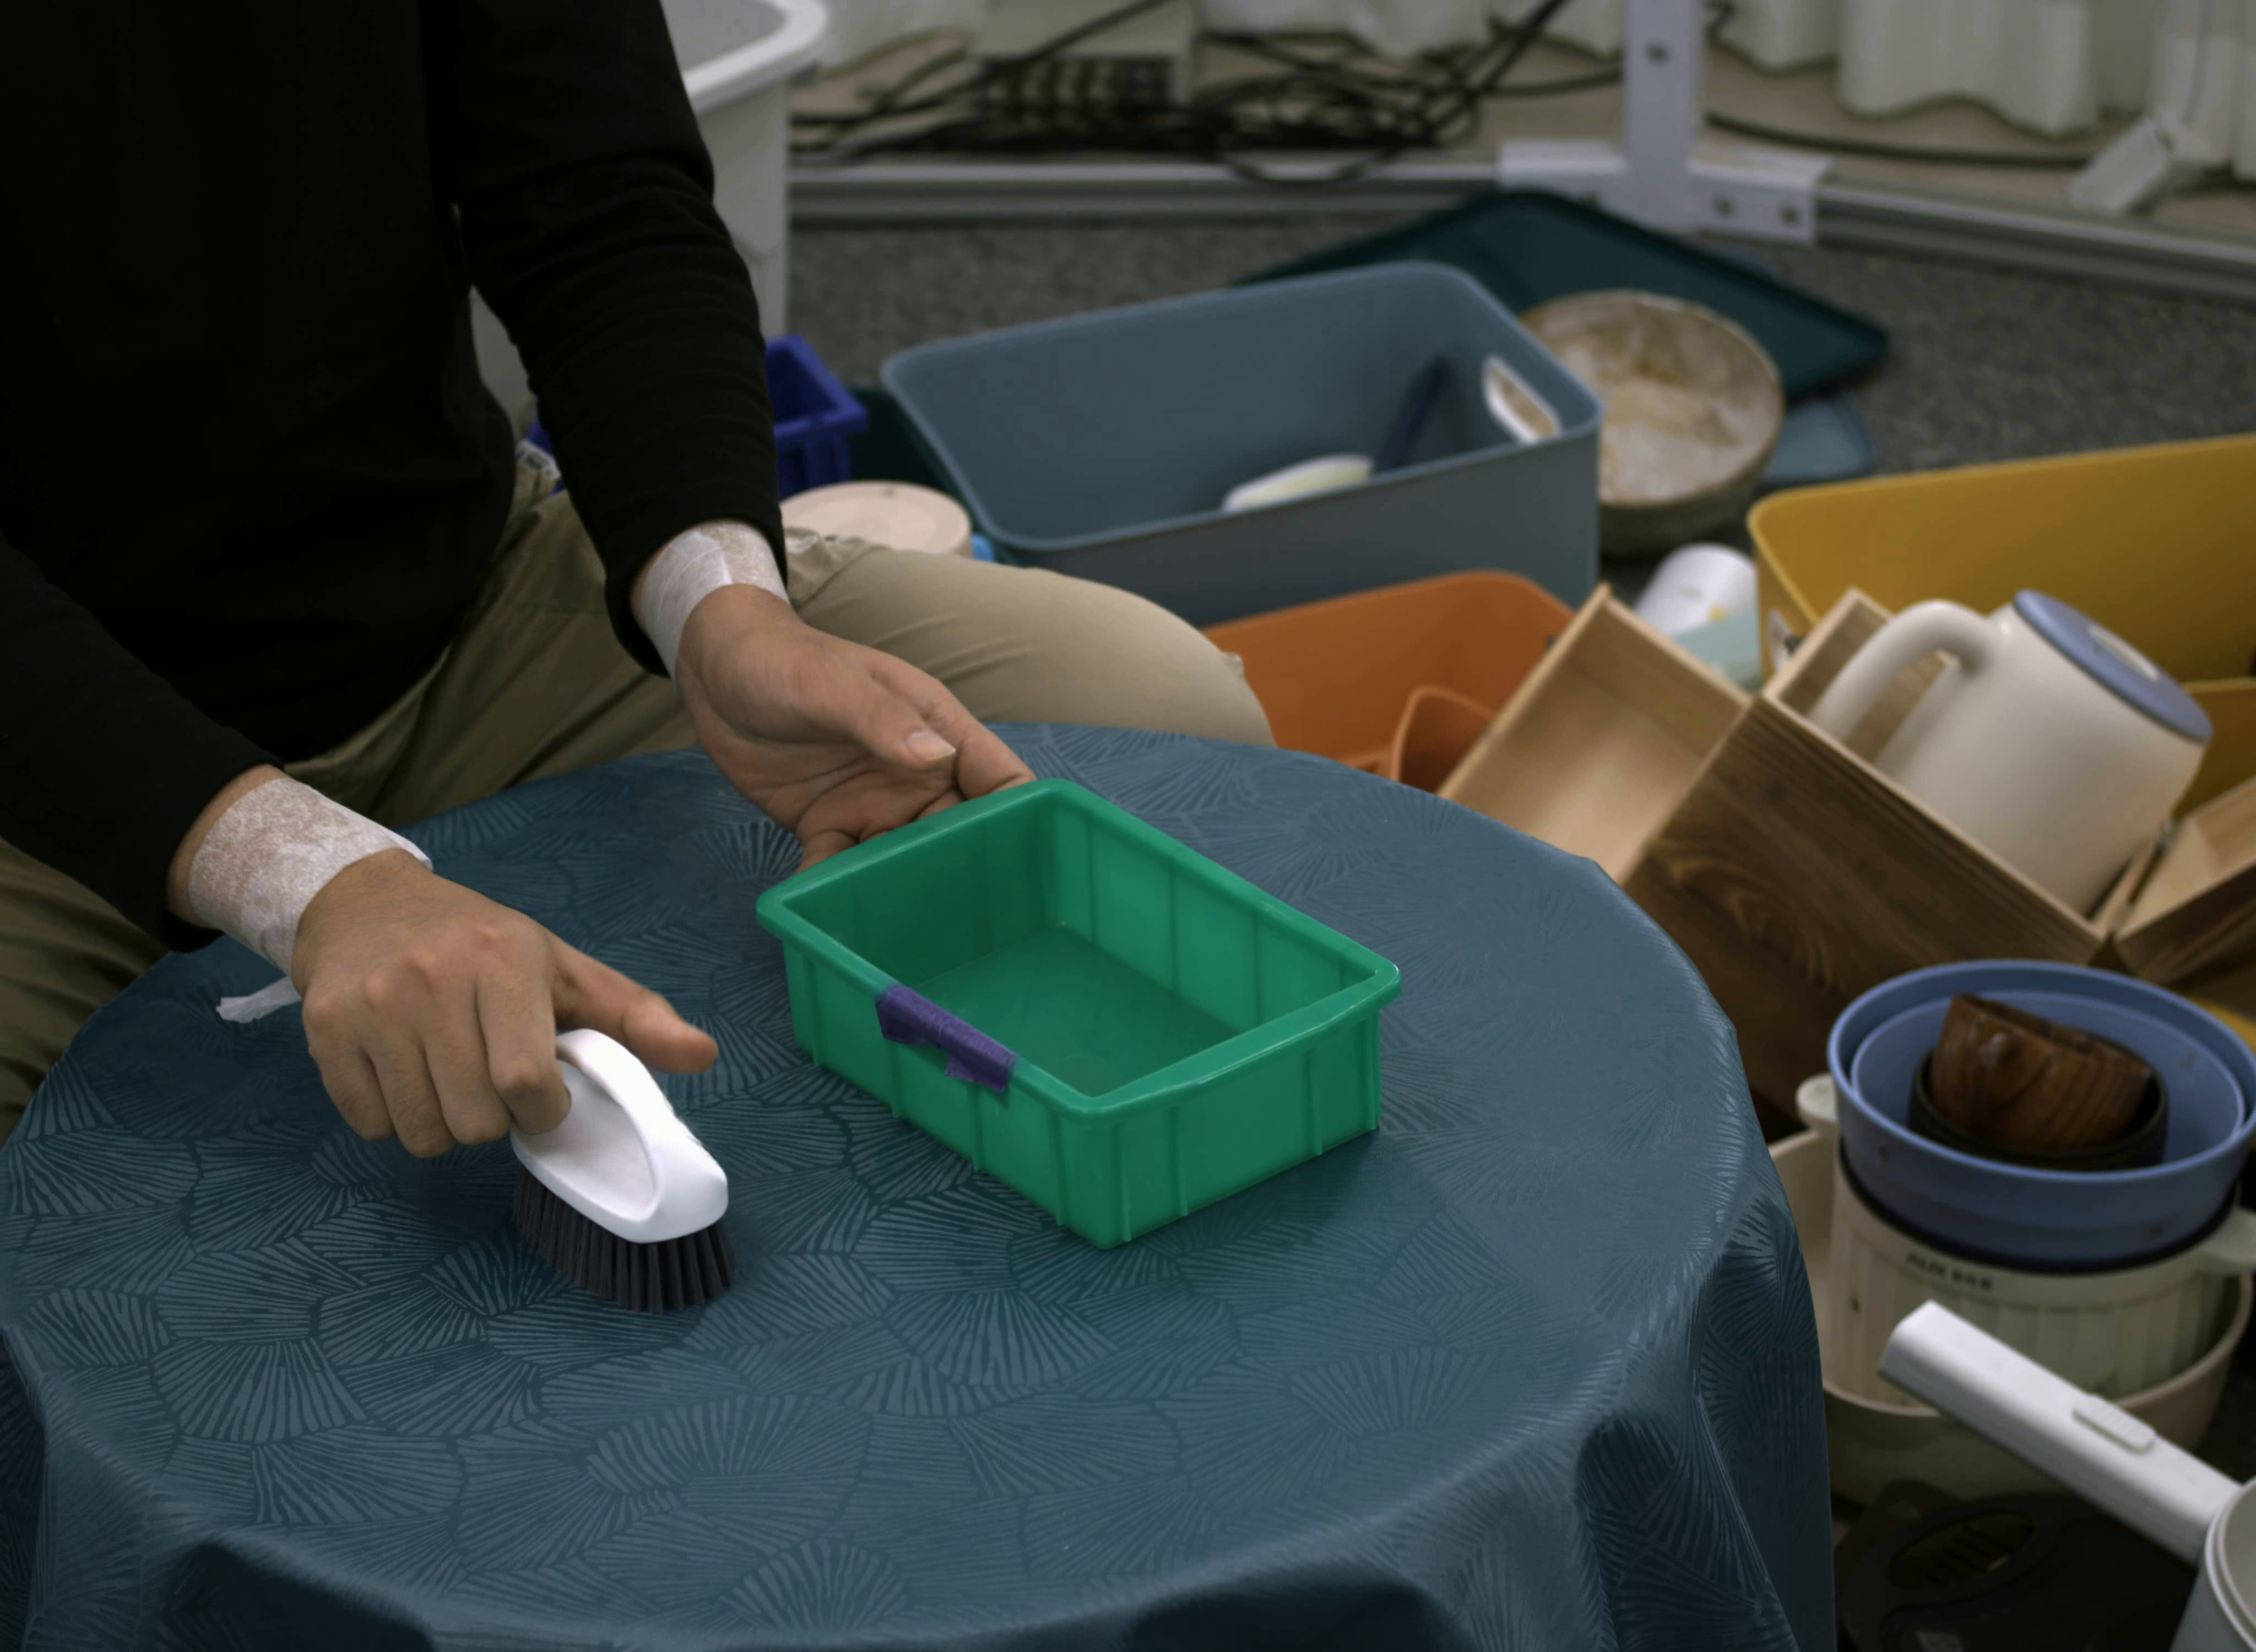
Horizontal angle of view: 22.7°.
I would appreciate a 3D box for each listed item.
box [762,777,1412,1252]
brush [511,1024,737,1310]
[{"bbox_3d":[-0.014,0.064,1.907,0.140,0.064,0.210,-25,35,-32],"label":"box"},{"bbox_3d":[-0.167,0.105,1.831,0.050,0.072,0.099,-19,31,-27],"label":"brush"}]
